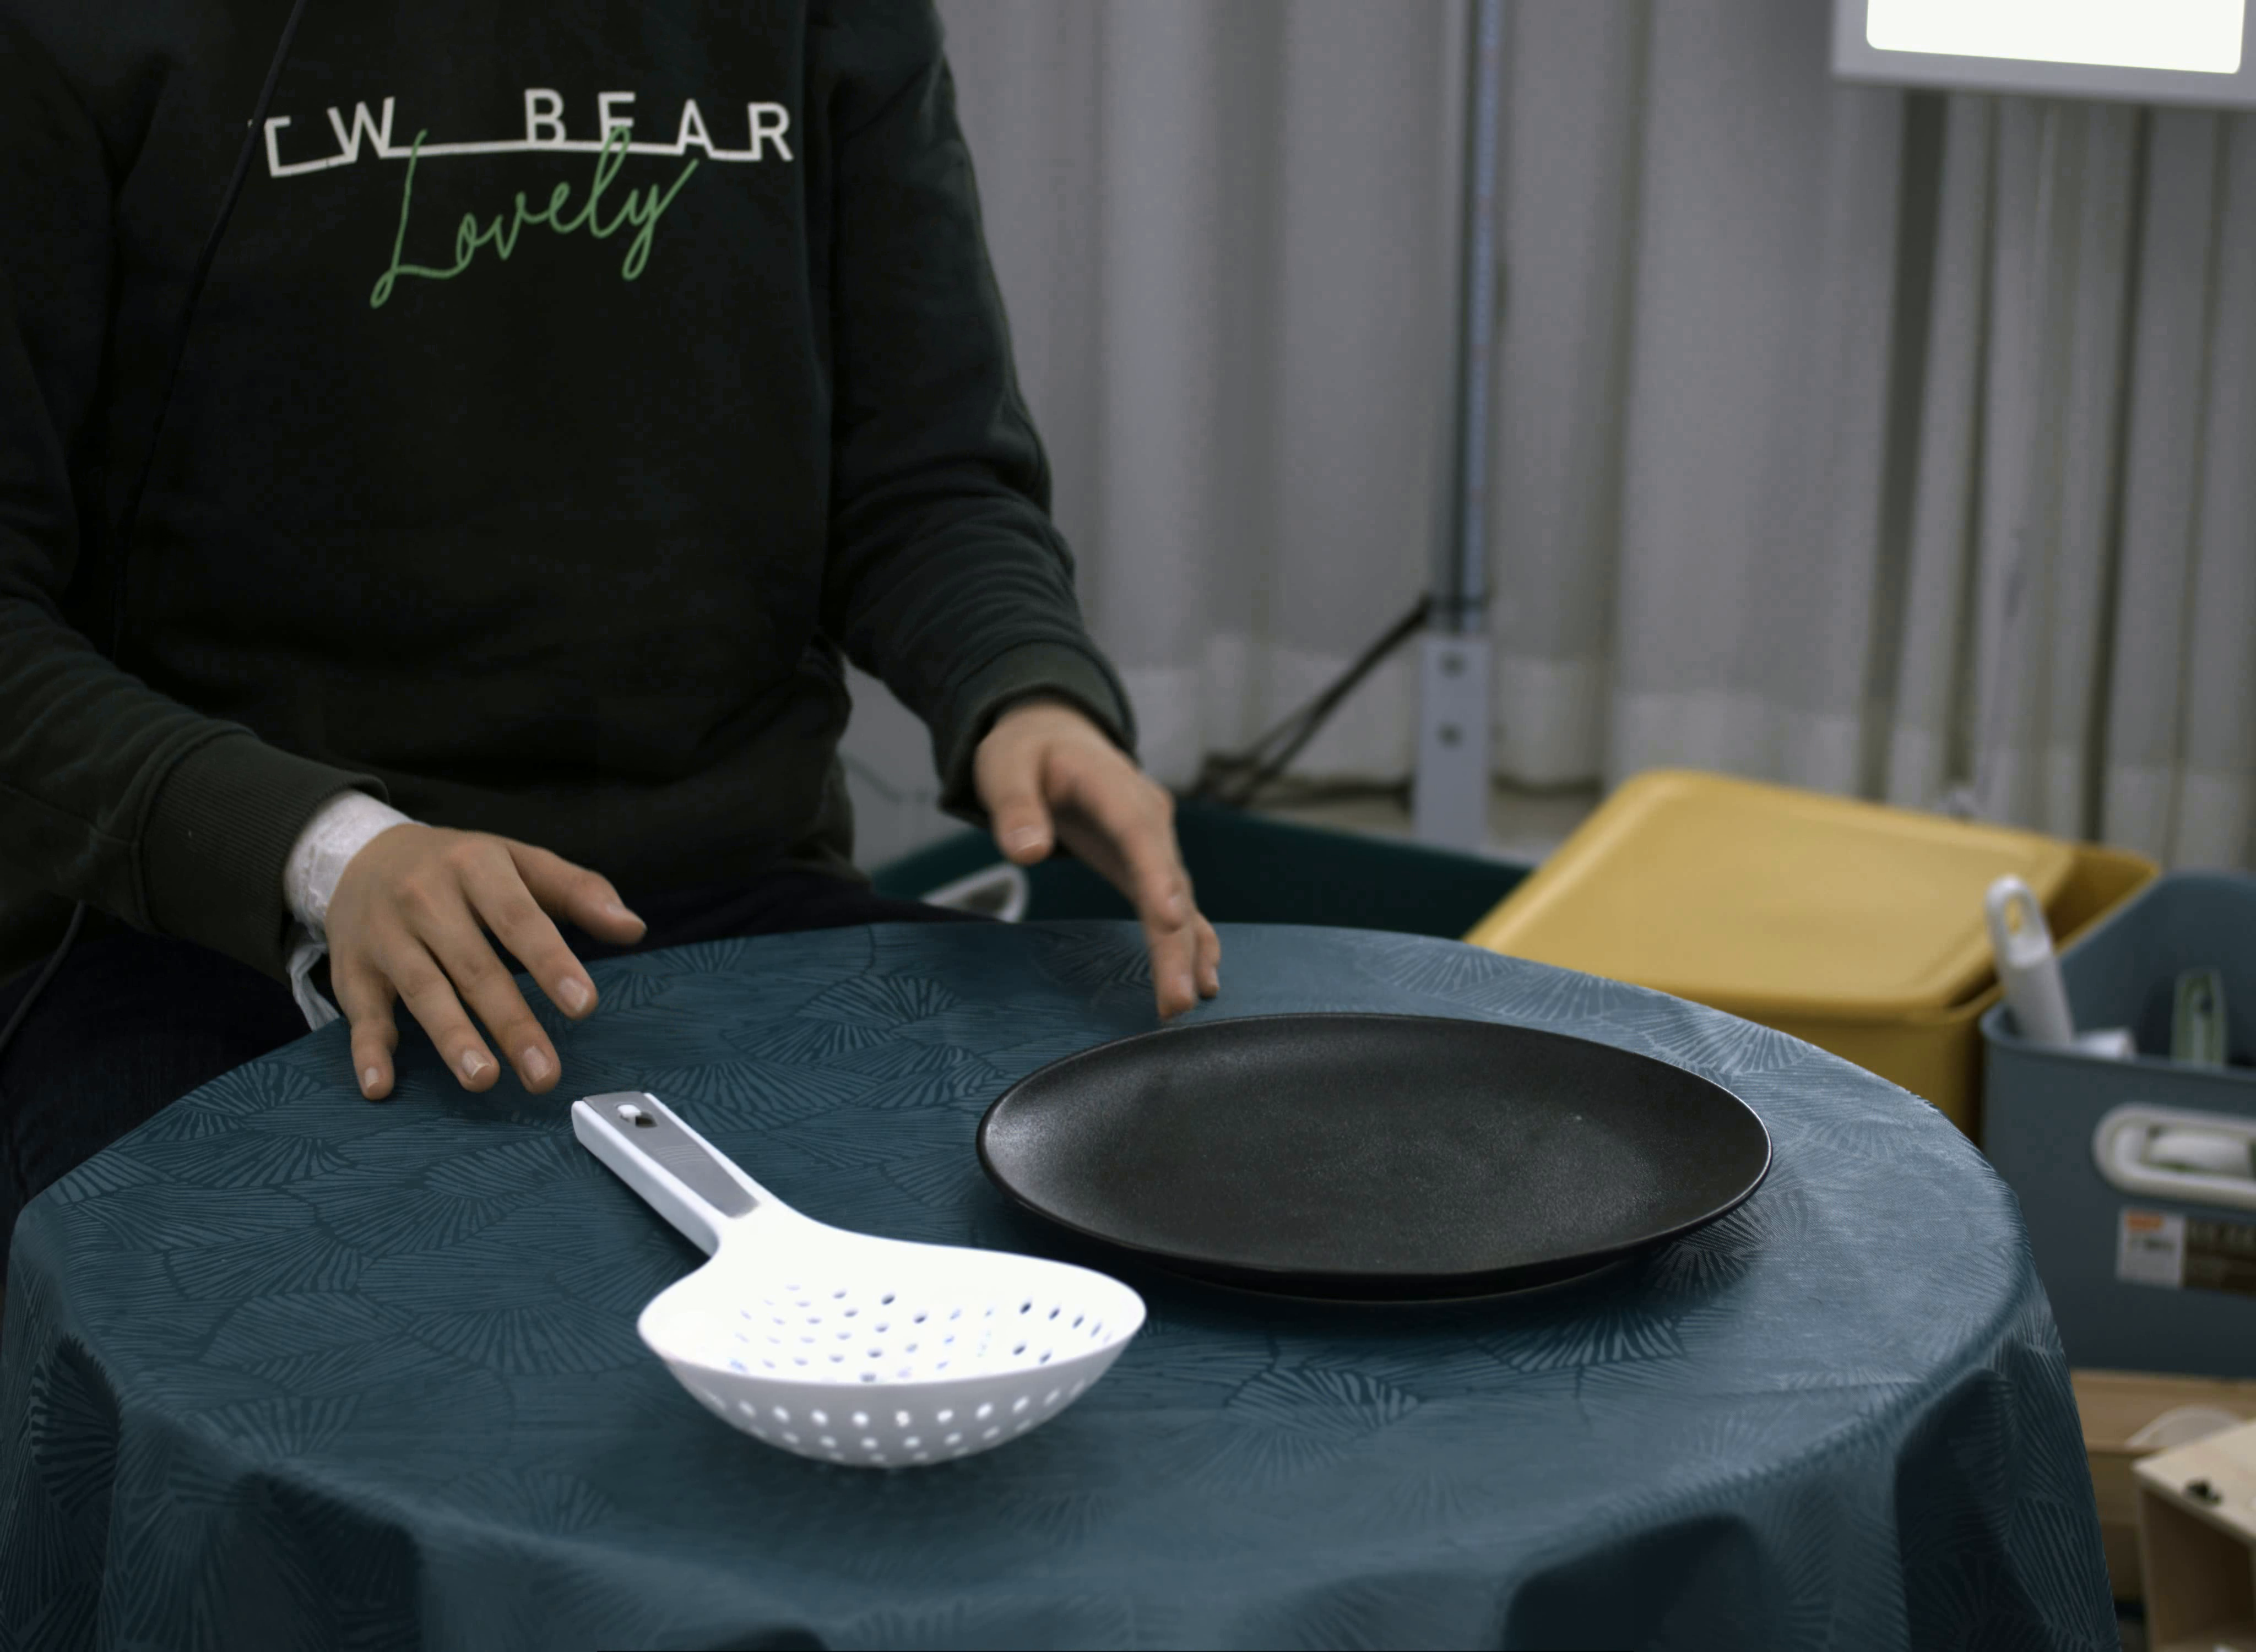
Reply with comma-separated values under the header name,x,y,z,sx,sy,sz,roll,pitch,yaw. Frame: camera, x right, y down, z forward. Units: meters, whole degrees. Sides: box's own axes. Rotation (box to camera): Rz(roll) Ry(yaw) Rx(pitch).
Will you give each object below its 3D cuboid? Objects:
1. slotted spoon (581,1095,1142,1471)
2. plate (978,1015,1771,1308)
name,x,y,z,sx,sy,sz,roll,pitch,yaw
slotted spoon,-0.102,0.121,1.509,0.136,0.046,0.346,-3,15,-21
plate,0.075,0.104,1.616,0.243,0.023,0.243,1,16,0
